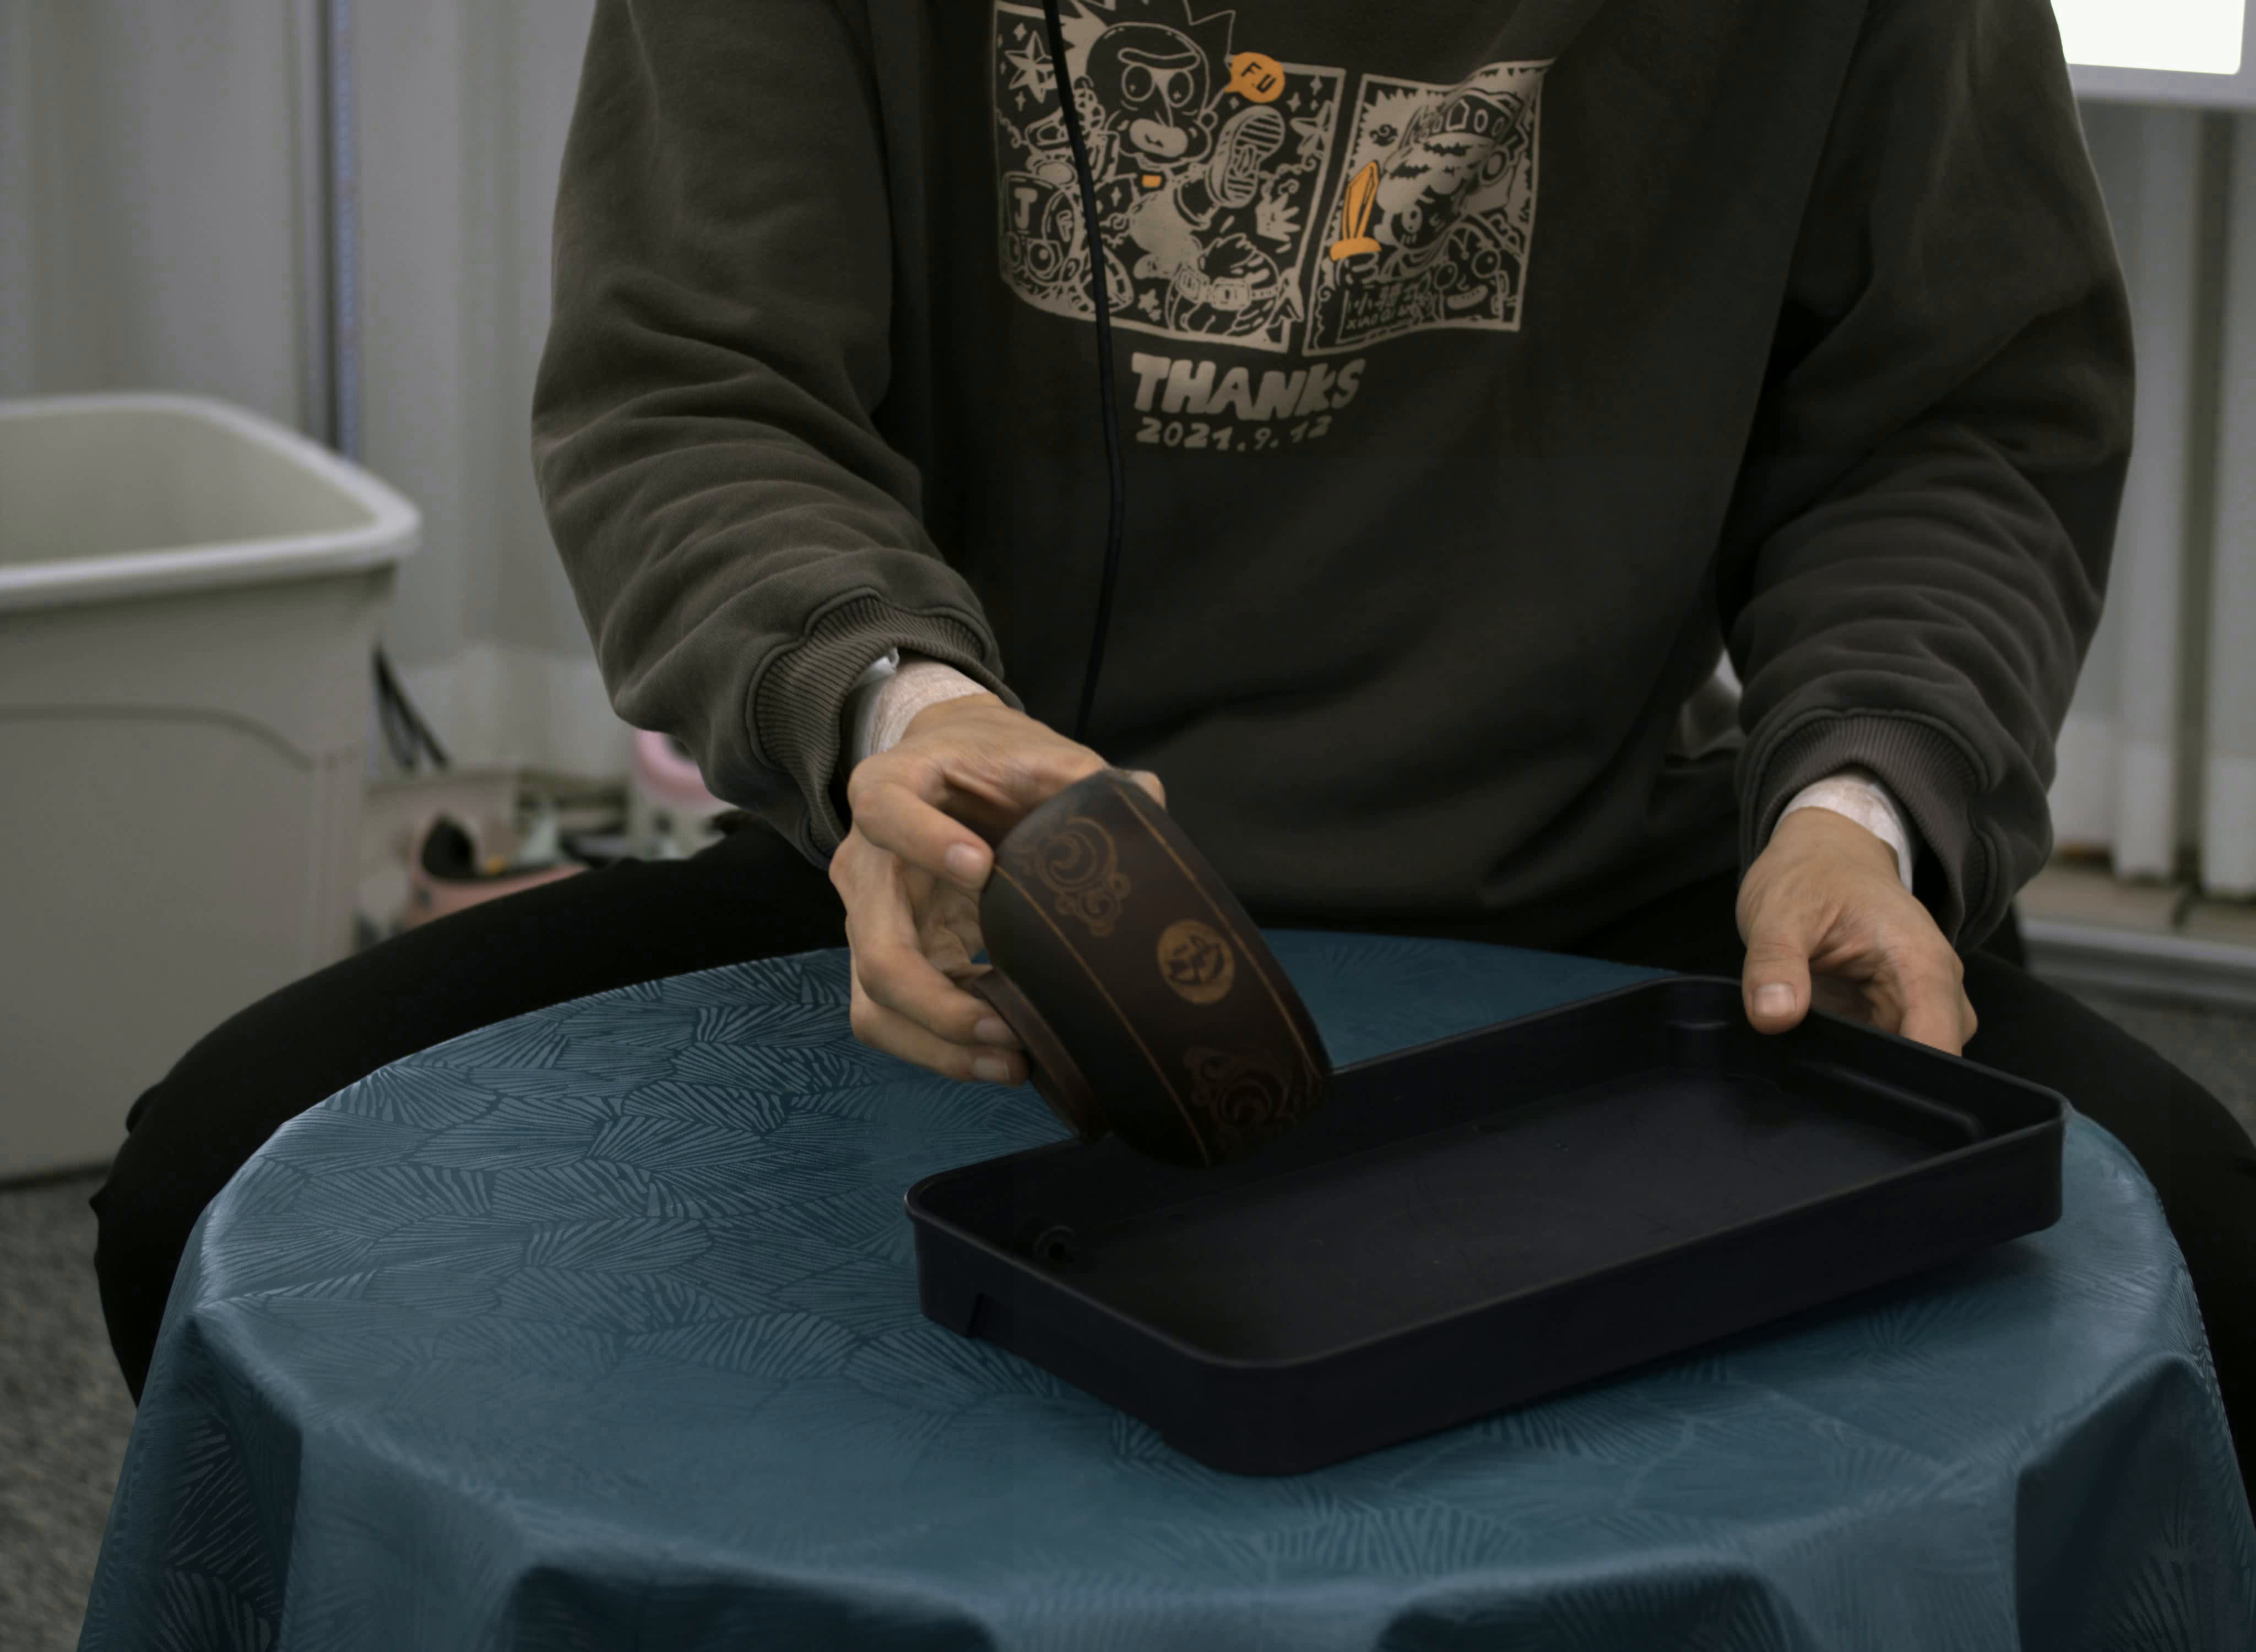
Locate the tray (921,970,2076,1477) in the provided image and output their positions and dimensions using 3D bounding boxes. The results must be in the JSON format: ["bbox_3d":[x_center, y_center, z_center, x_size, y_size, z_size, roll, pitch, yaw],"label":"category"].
[{"bbox_3d":[0.112,0.110,1.552,0.319,0.037,0.182,-14,20,-35],"label":"tray"}]

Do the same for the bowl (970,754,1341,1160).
[{"bbox_3d":[-0.001,0.045,1.494,0.070,0.119,0.116,-37,26,-9],"label":"bowl"}]
